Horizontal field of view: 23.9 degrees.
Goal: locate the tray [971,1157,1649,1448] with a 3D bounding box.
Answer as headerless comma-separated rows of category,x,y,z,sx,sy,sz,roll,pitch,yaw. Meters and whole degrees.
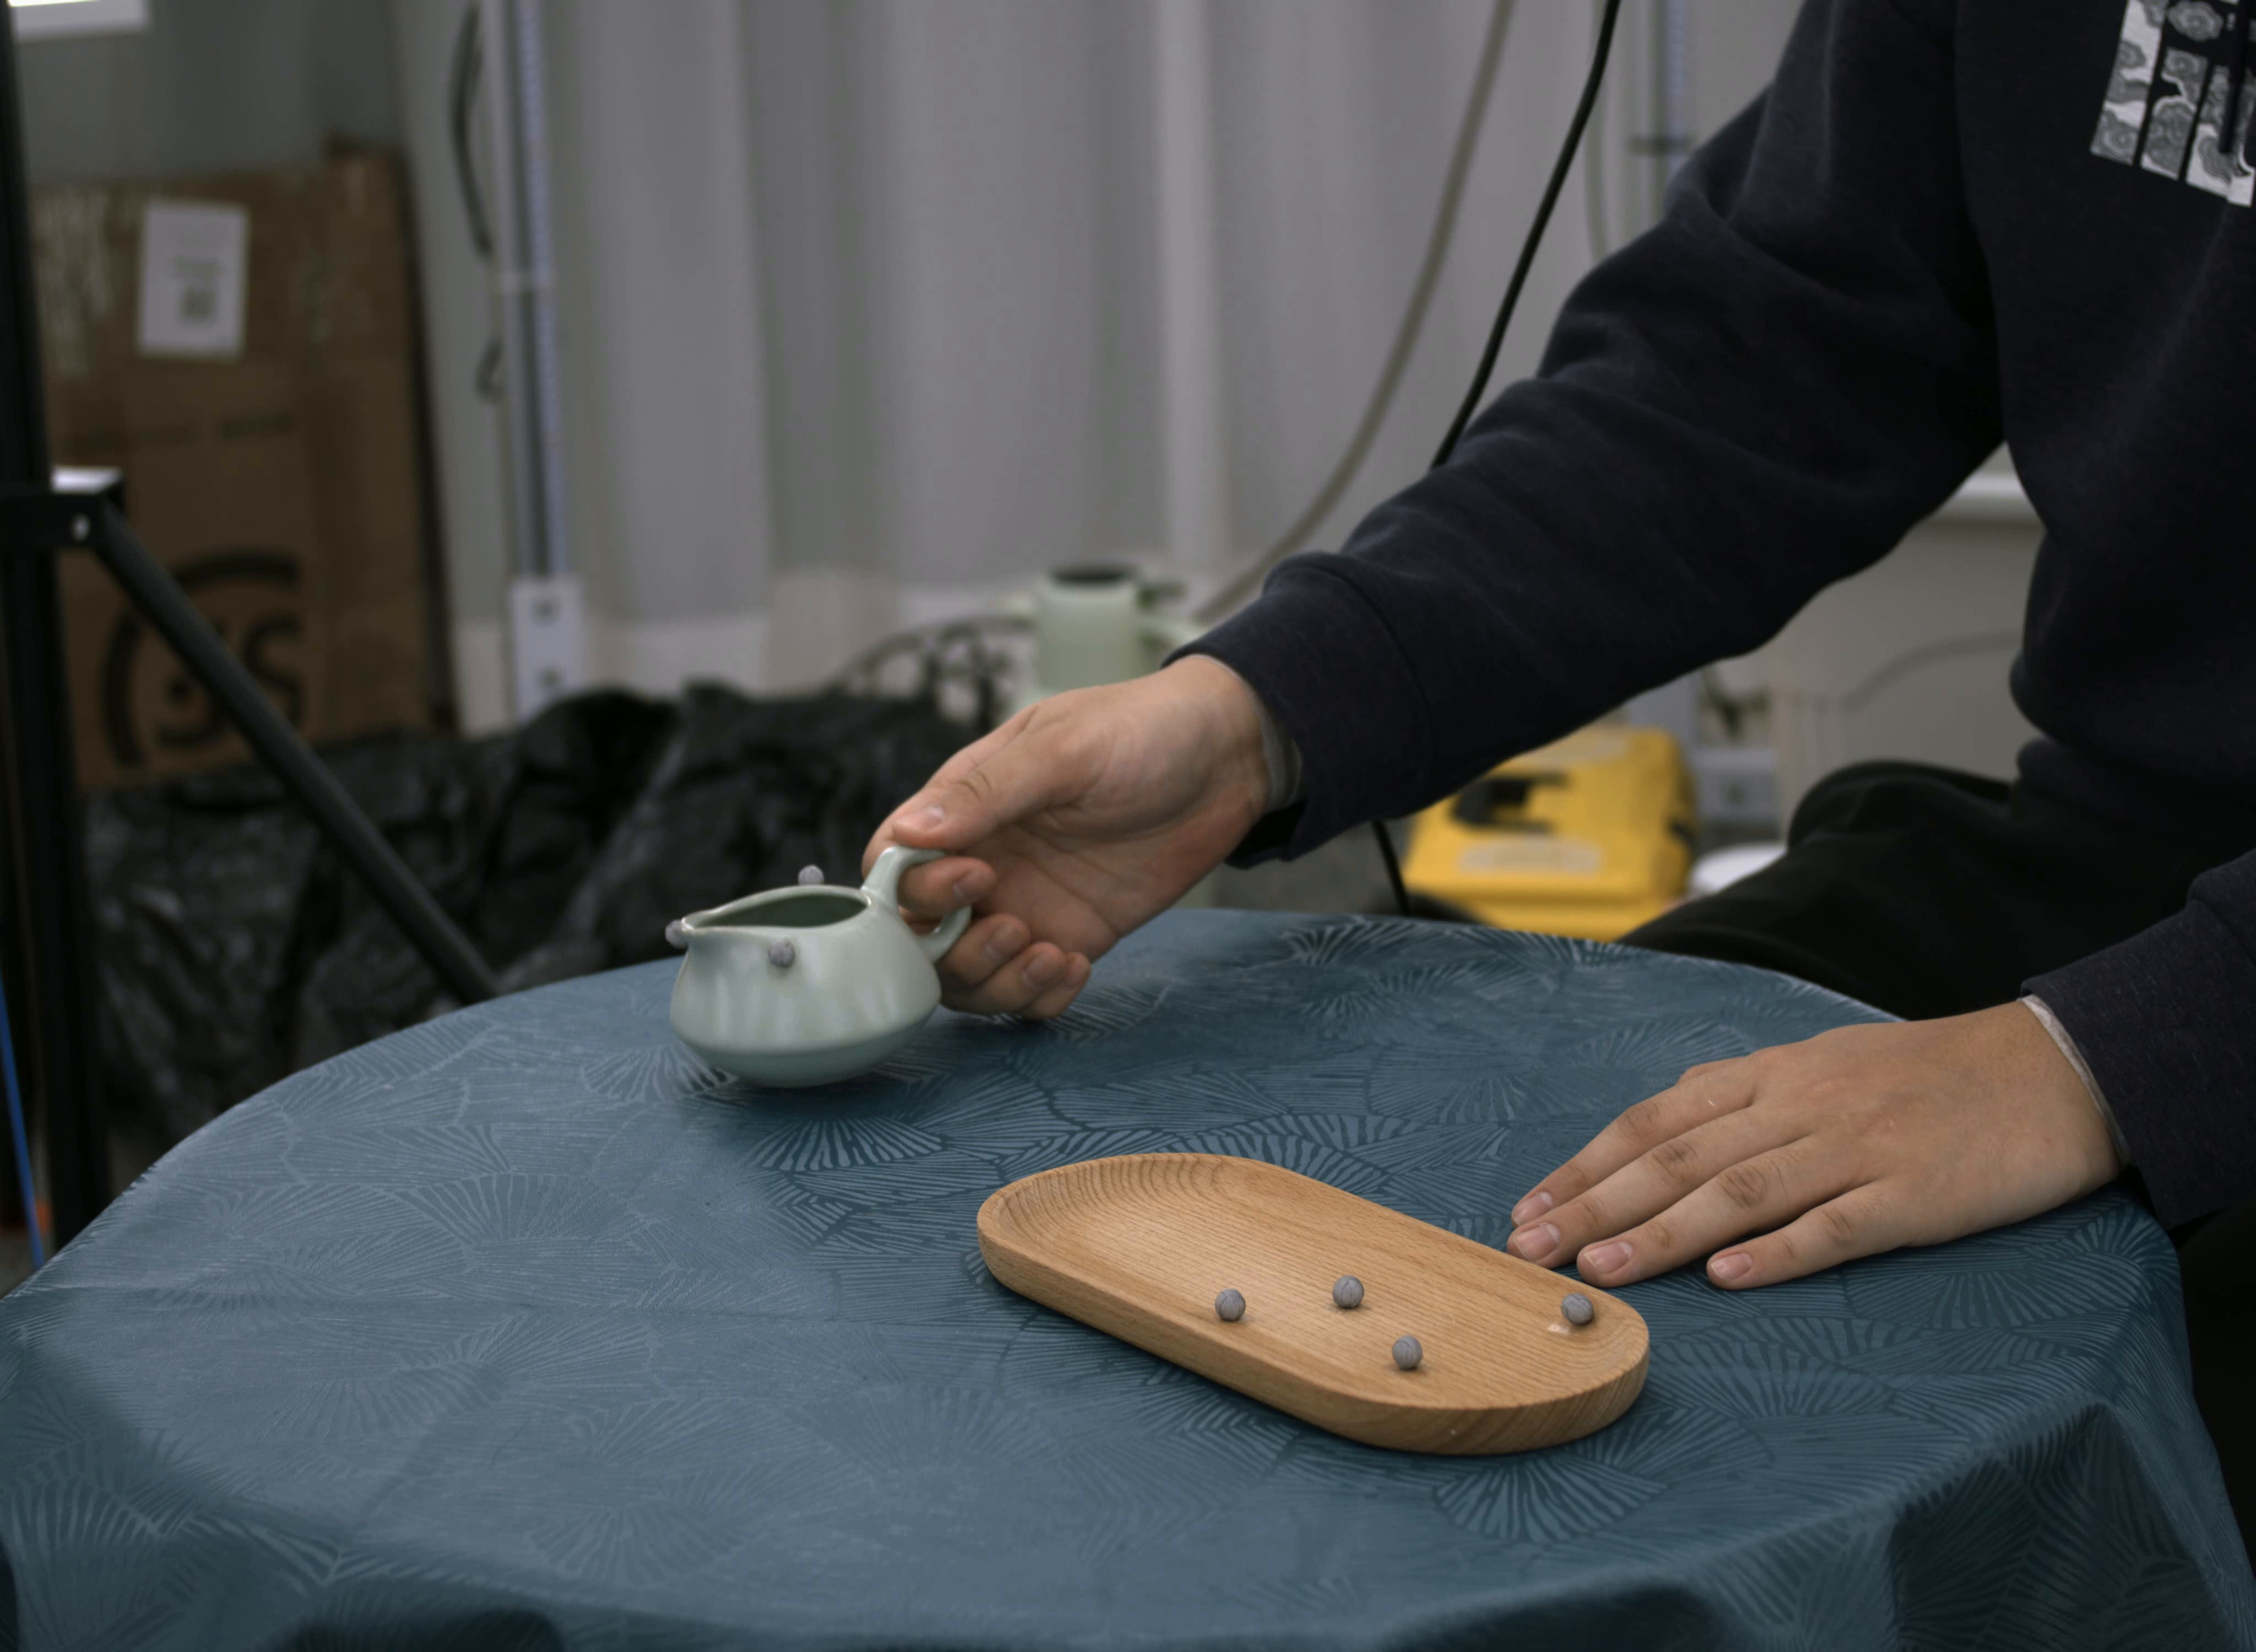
tray,0.047,0.128,1.449,0.099,0.020,0.236,-12,16,-35

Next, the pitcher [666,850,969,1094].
pitcher,-0.094,0.046,1.672,0.105,0.060,0.088,-18,21,-37
